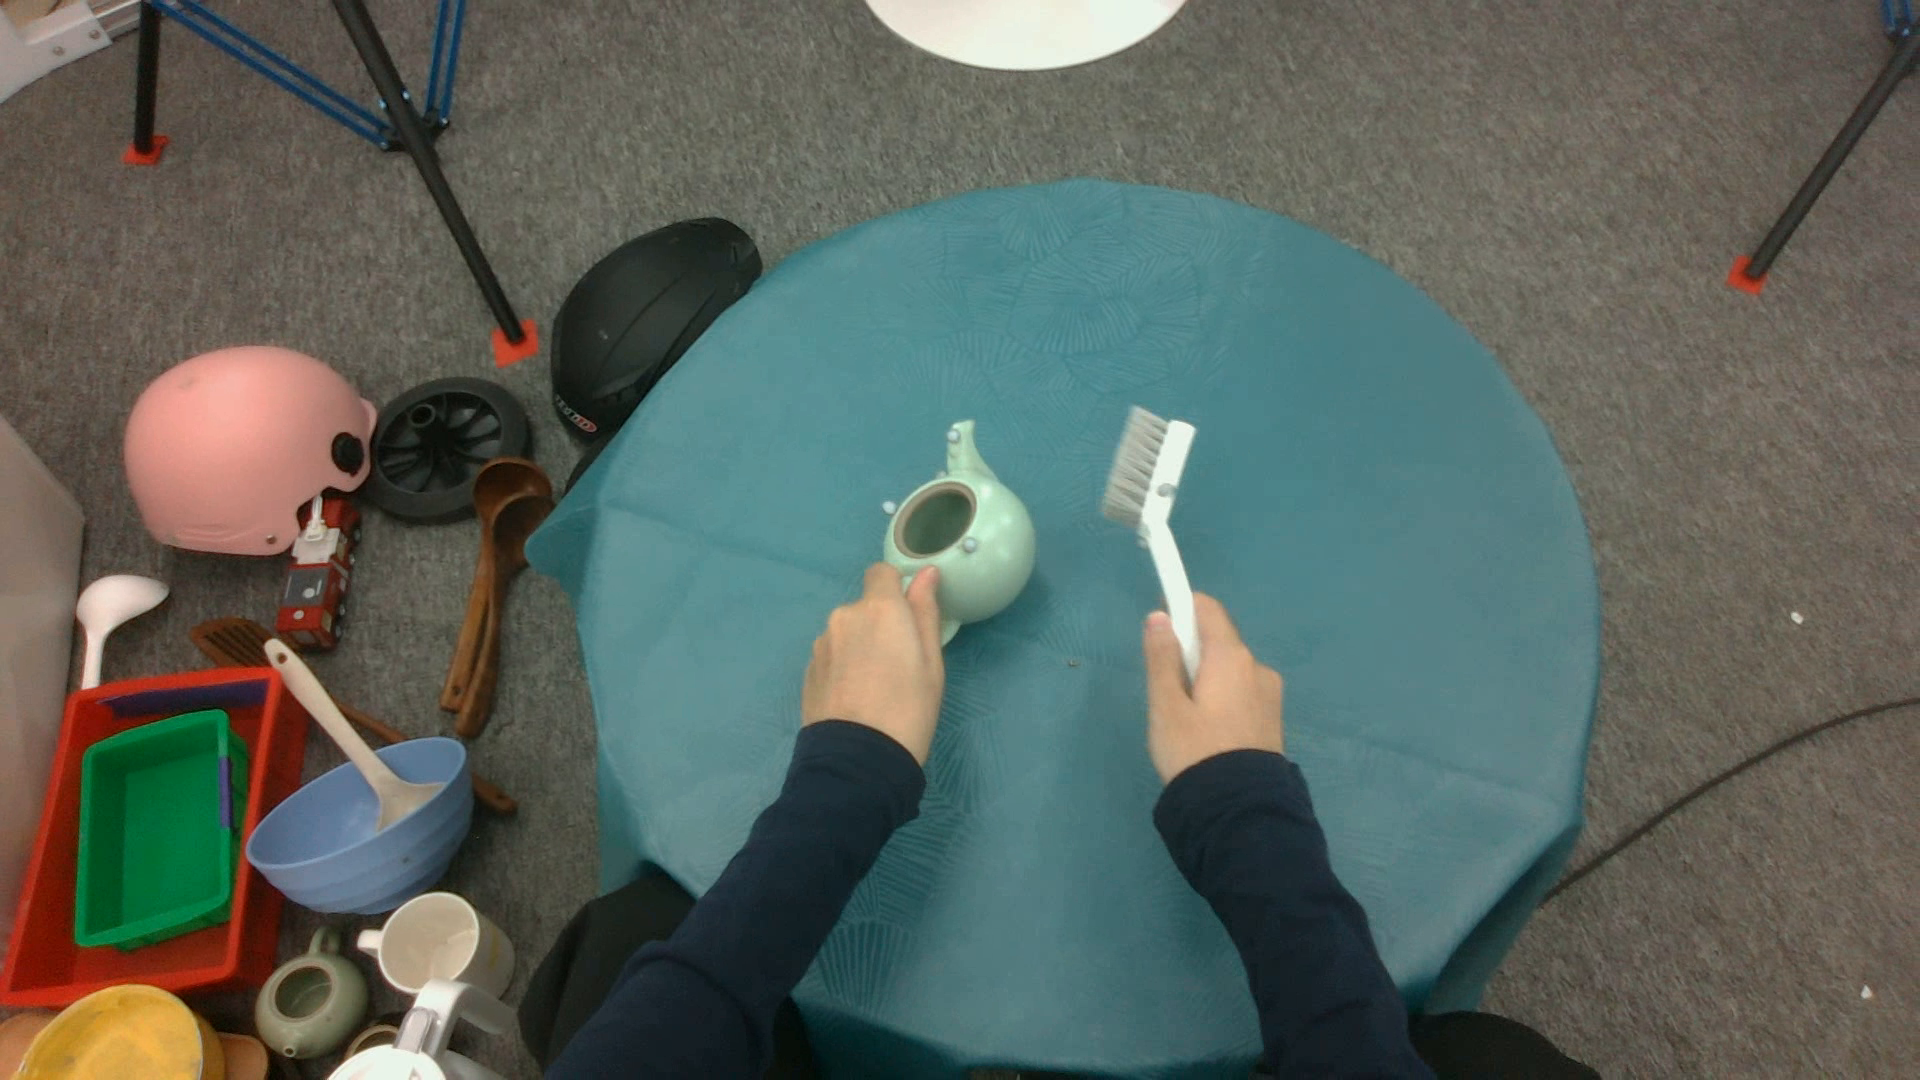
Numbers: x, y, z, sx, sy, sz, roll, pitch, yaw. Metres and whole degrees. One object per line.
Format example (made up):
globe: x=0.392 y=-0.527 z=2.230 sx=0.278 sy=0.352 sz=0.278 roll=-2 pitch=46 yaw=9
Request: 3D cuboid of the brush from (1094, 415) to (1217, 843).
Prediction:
brush: x=0.102 y=0.042 z=0.736 sx=0.050 sy=0.034 sz=0.244 roll=-1 pitch=63 yaw=-2

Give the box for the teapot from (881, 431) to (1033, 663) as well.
teapot: x=-0.002 y=0.012 z=0.791 sx=0.088 sy=0.074 sz=0.144 roll=-3 pitch=52 yaw=34
